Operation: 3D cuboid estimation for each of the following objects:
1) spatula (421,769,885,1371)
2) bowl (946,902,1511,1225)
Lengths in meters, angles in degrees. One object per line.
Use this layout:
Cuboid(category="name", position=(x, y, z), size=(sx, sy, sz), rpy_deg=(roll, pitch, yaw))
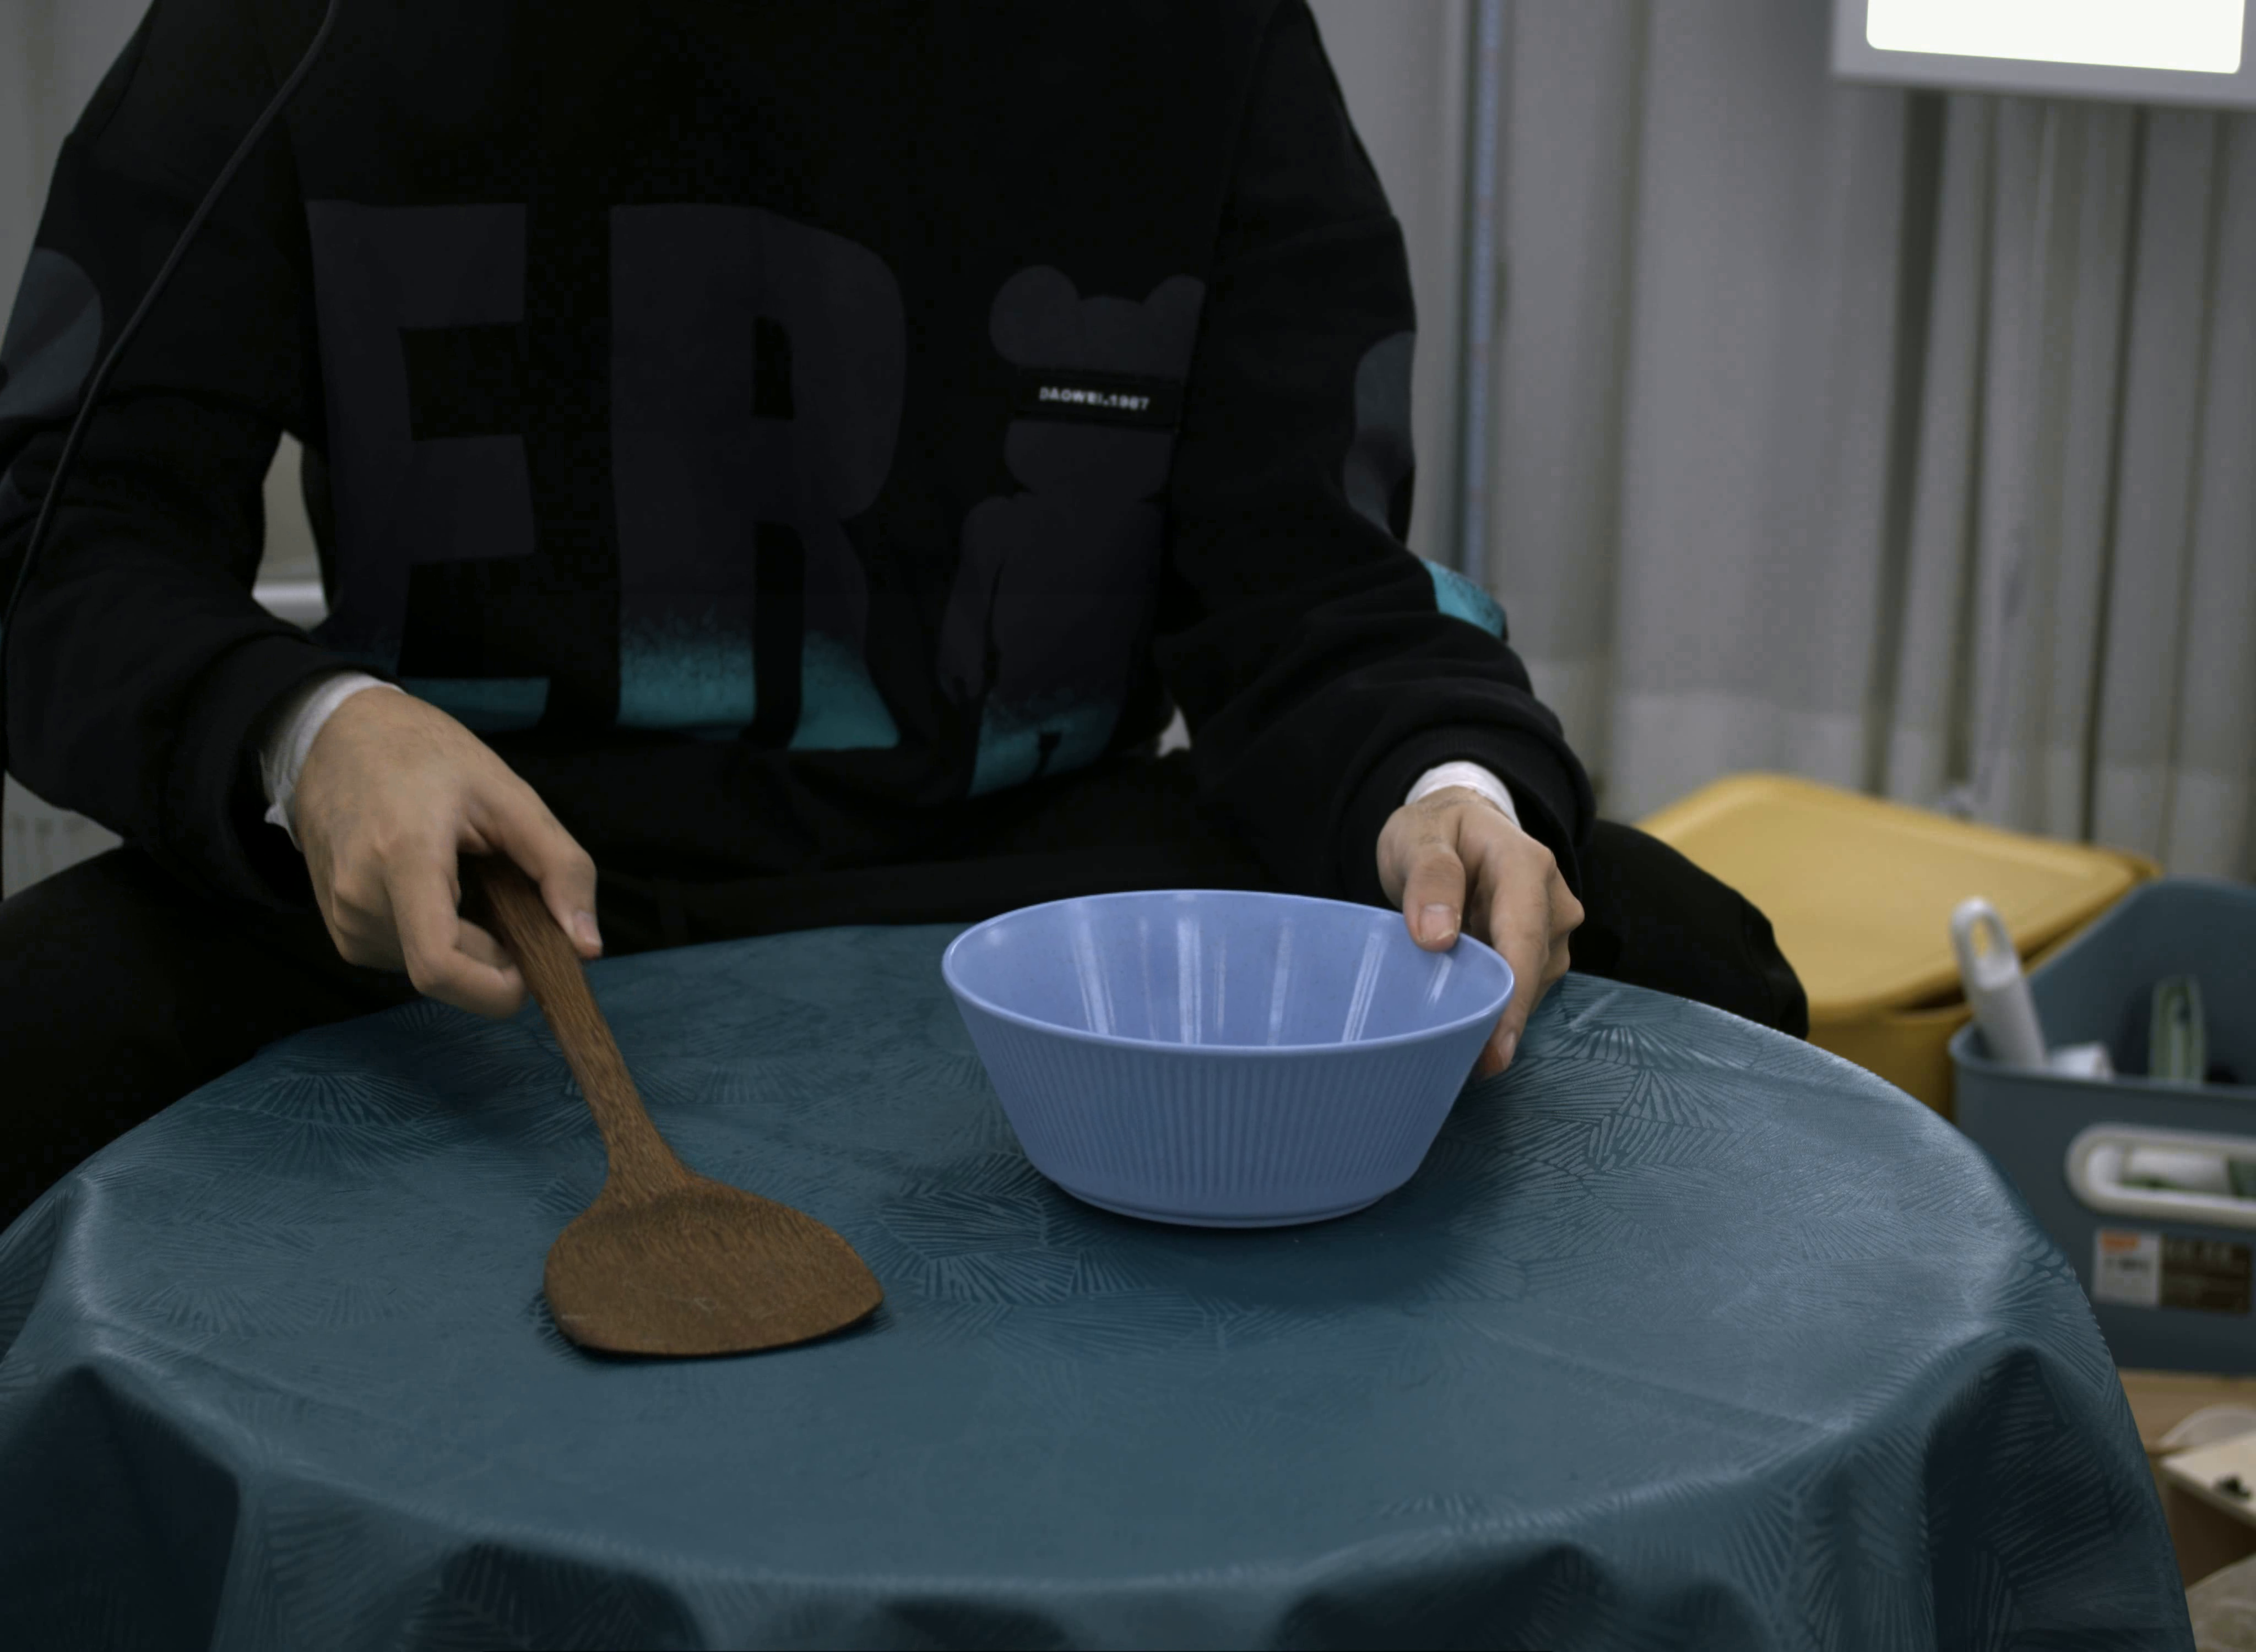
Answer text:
Cuboid(category="spatula", position=(-0.170, 0.066, 1.645), size=(0.096, 0.016, 0.381), rpy_deg=(-6, 29, -18))
Cuboid(category="bowl", position=(0.030, 0.075, 1.626), size=(0.175, 0.071, 0.175), rpy_deg=(2, 13, 0))
